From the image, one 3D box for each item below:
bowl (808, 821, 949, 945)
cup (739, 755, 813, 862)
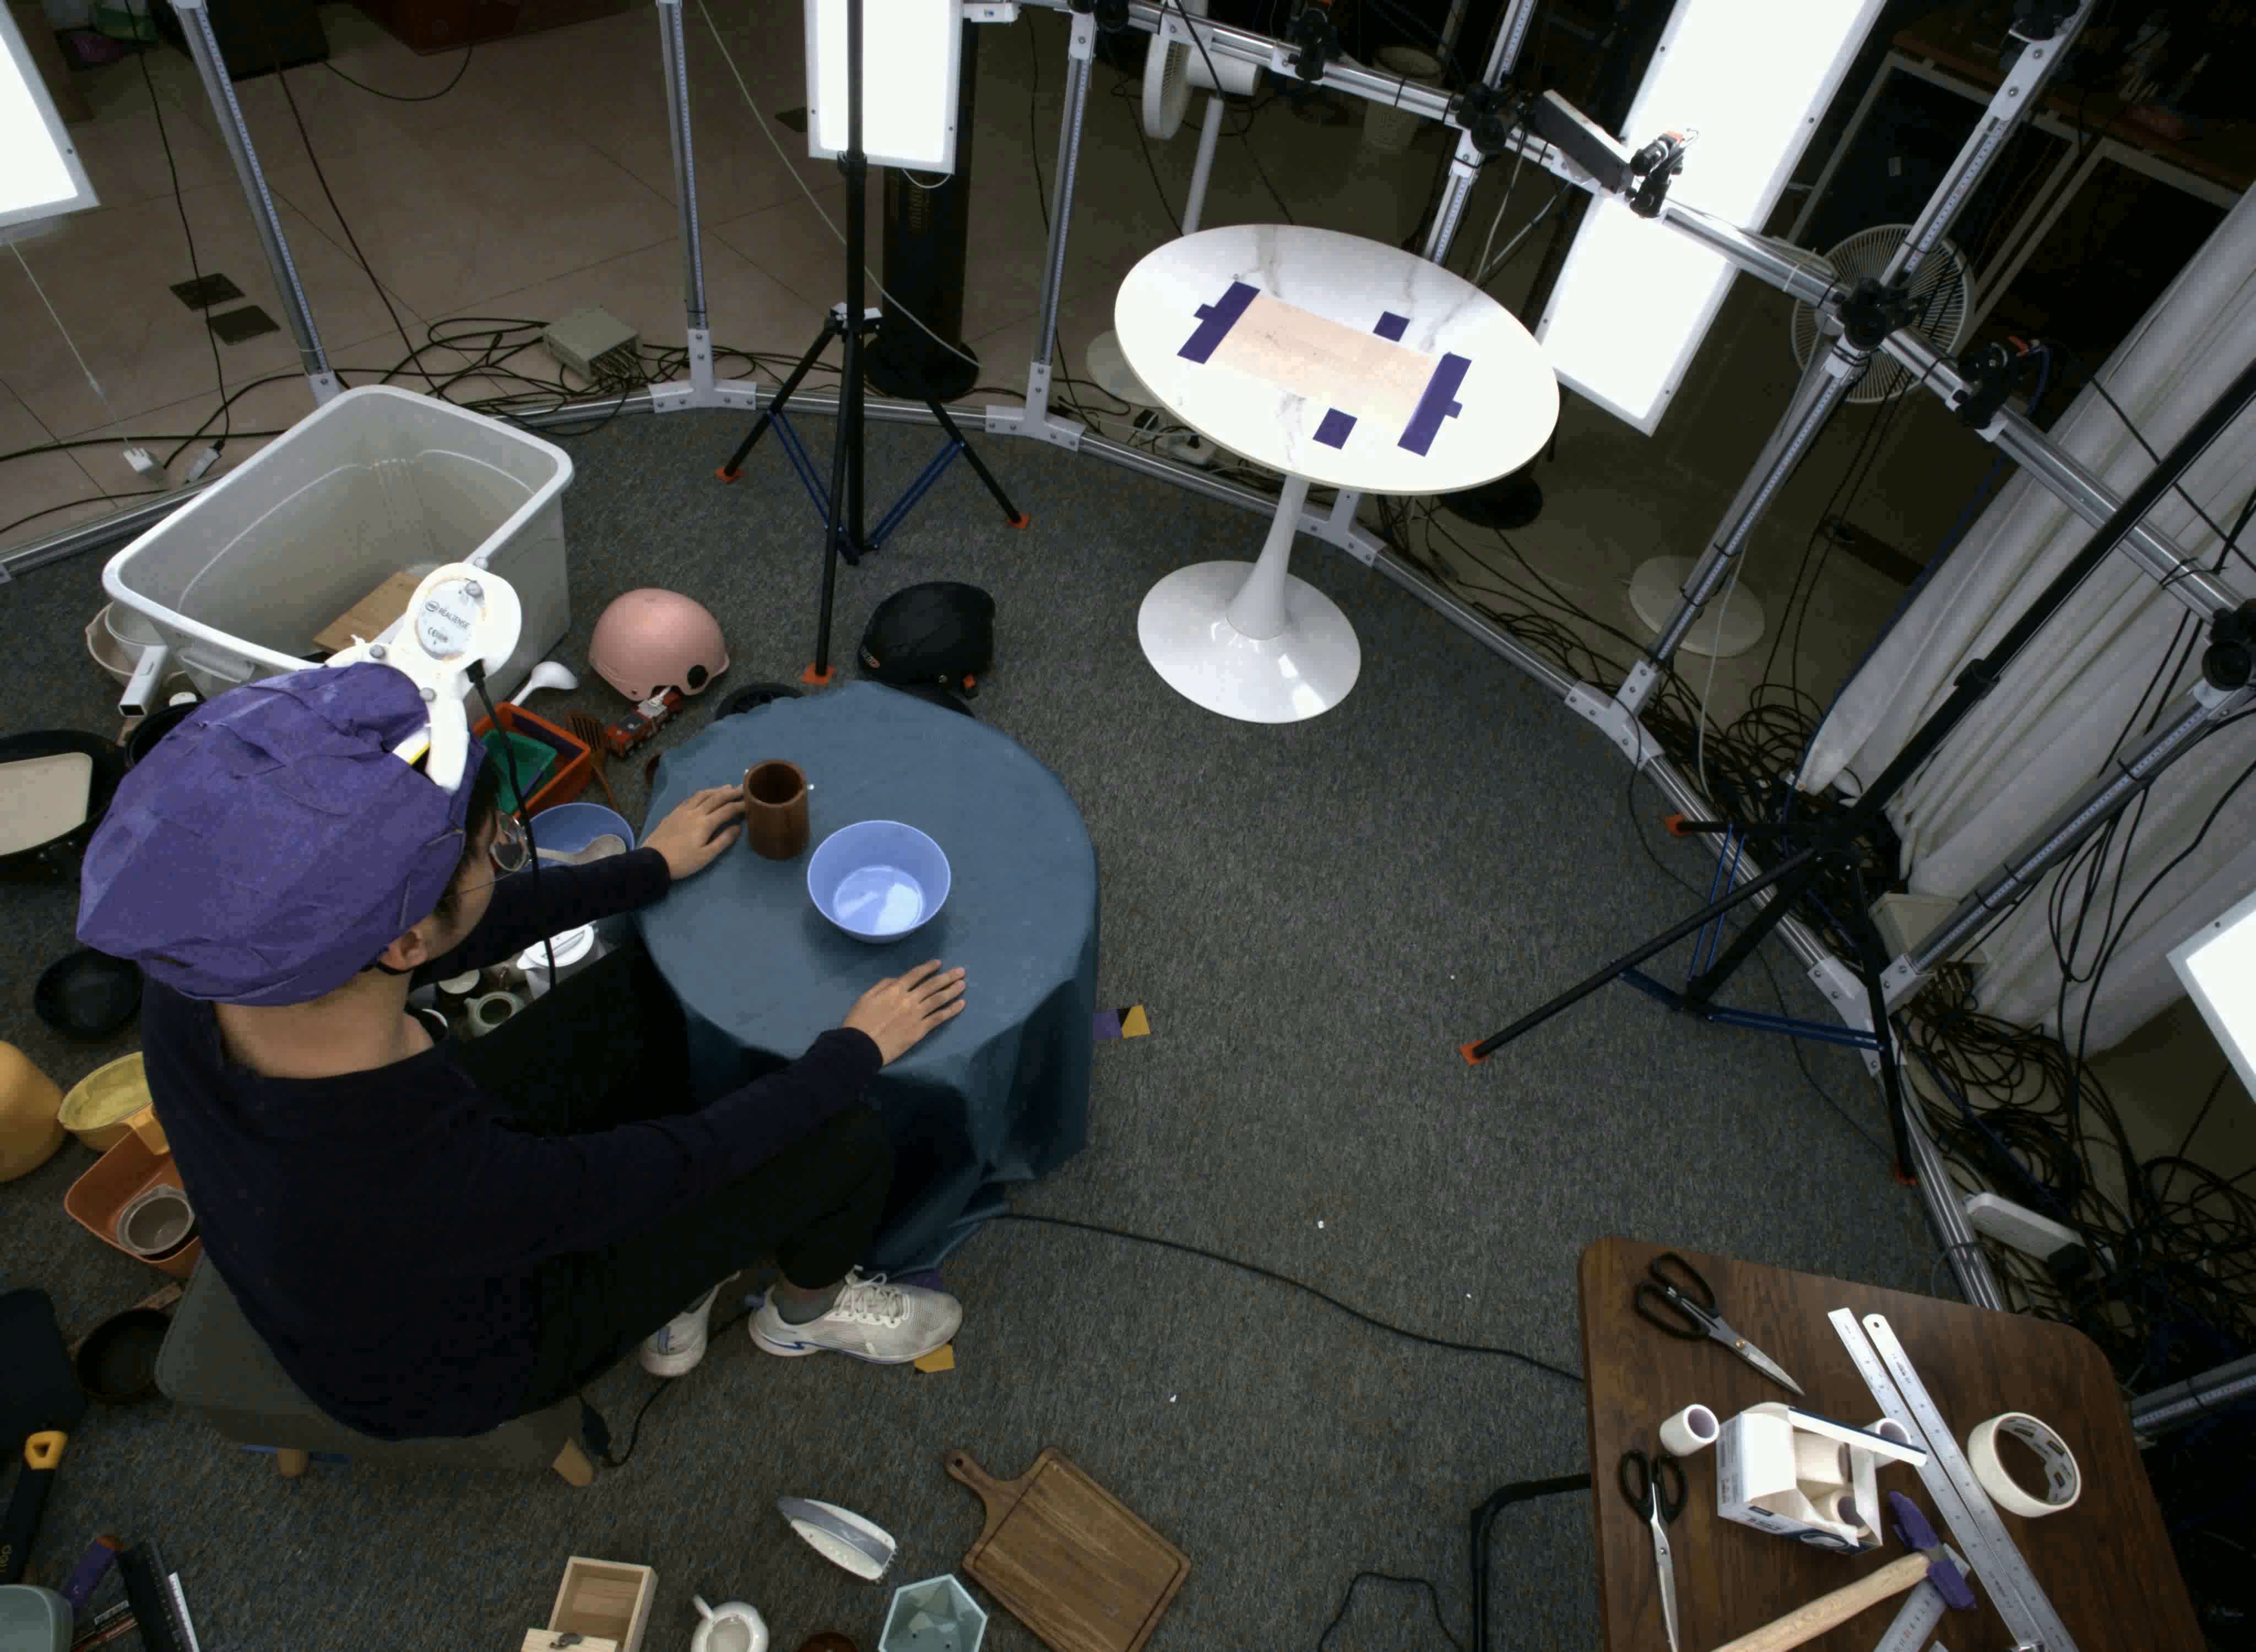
[{"bbox_3d":[-0.315,0.082,1.646,0.175,0.072,0.173,7,53,-7],"label":"bowl"},{"bbox_3d":[-0.448,-0.022,1.661,0.087,0.121,0.086,5,53,-5],"label":"cup"}]
